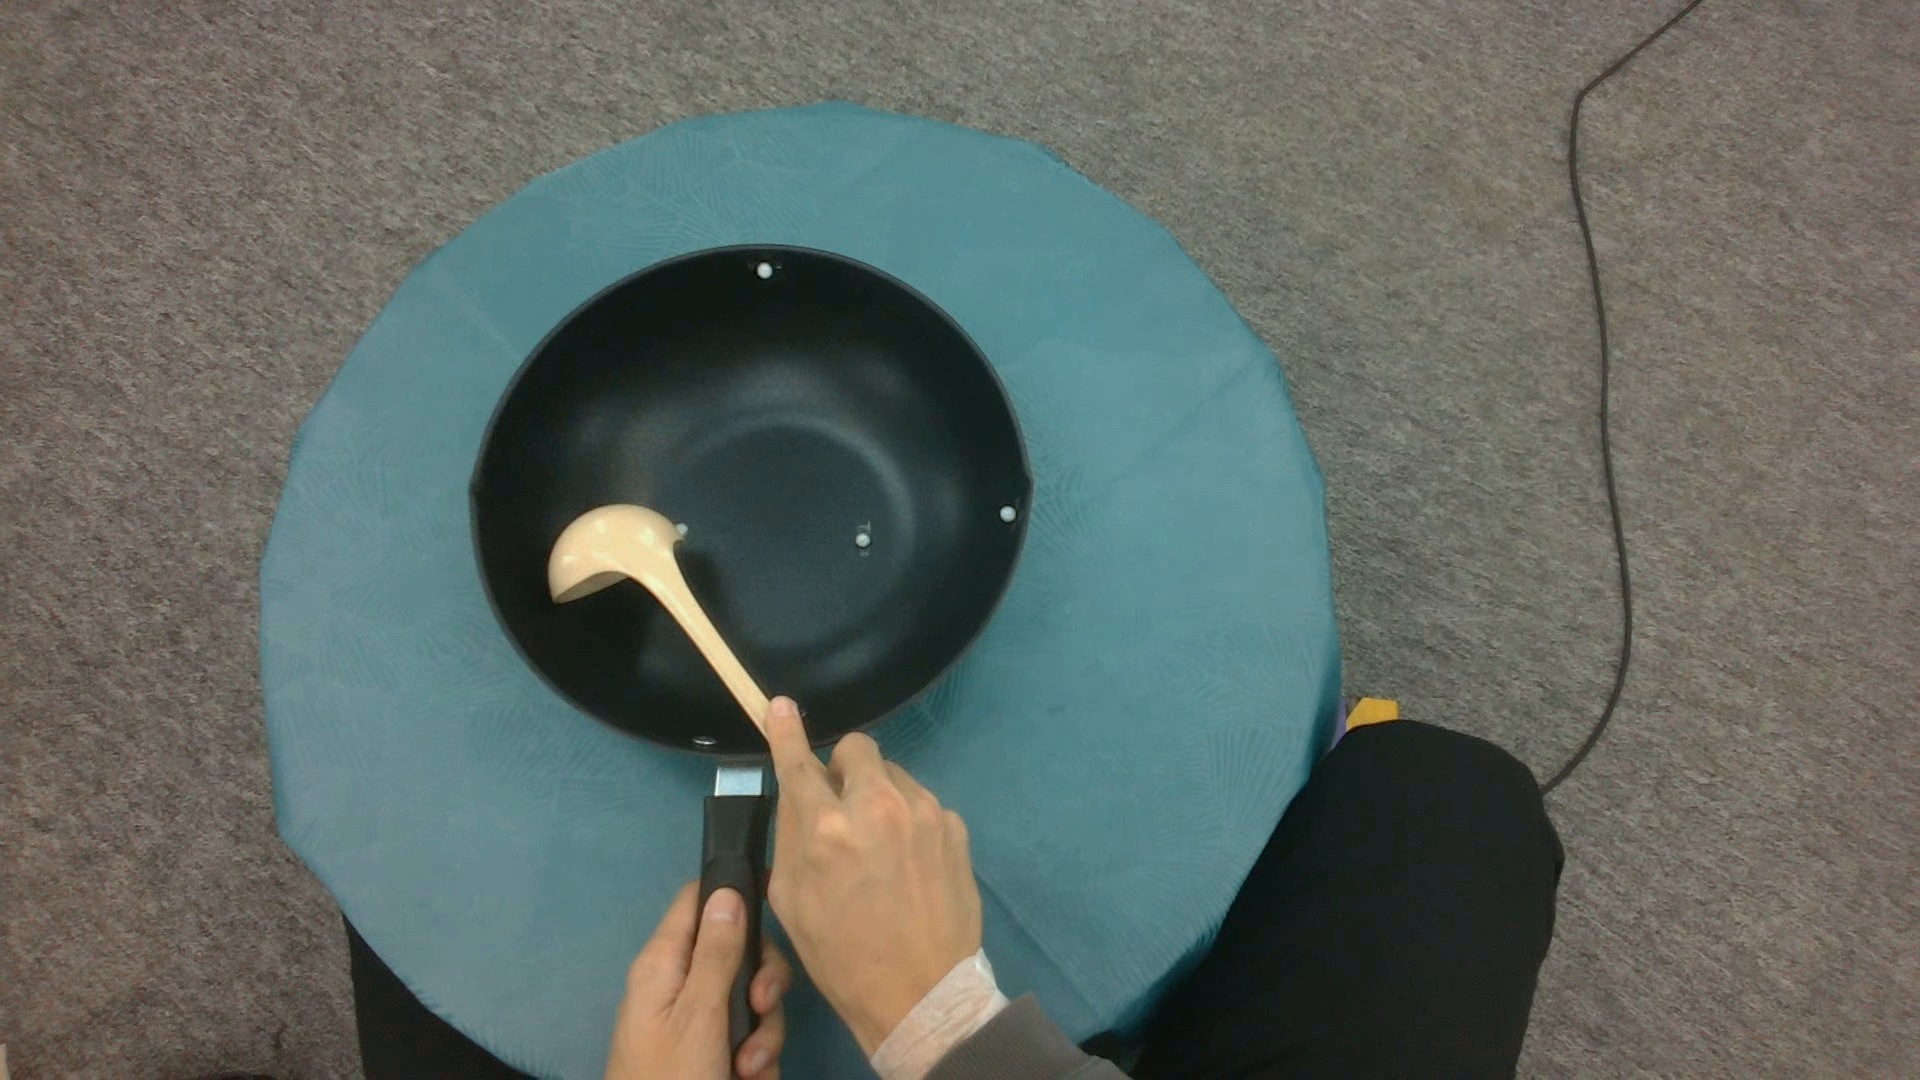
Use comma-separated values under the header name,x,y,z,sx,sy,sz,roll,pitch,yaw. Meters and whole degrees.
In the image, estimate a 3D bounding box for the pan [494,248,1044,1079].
name,x,y,z,sx,sy,sz,roll,pitch,yaw
pan,-0.101,0.073,0.724,0.288,0.086,0.464,0,73,0

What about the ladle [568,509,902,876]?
name,x,y,z,sx,sy,sz,roll,pitch,yaw
ladle,-0.114,0.085,0.695,0.072,0.072,0.255,-22,60,-36
